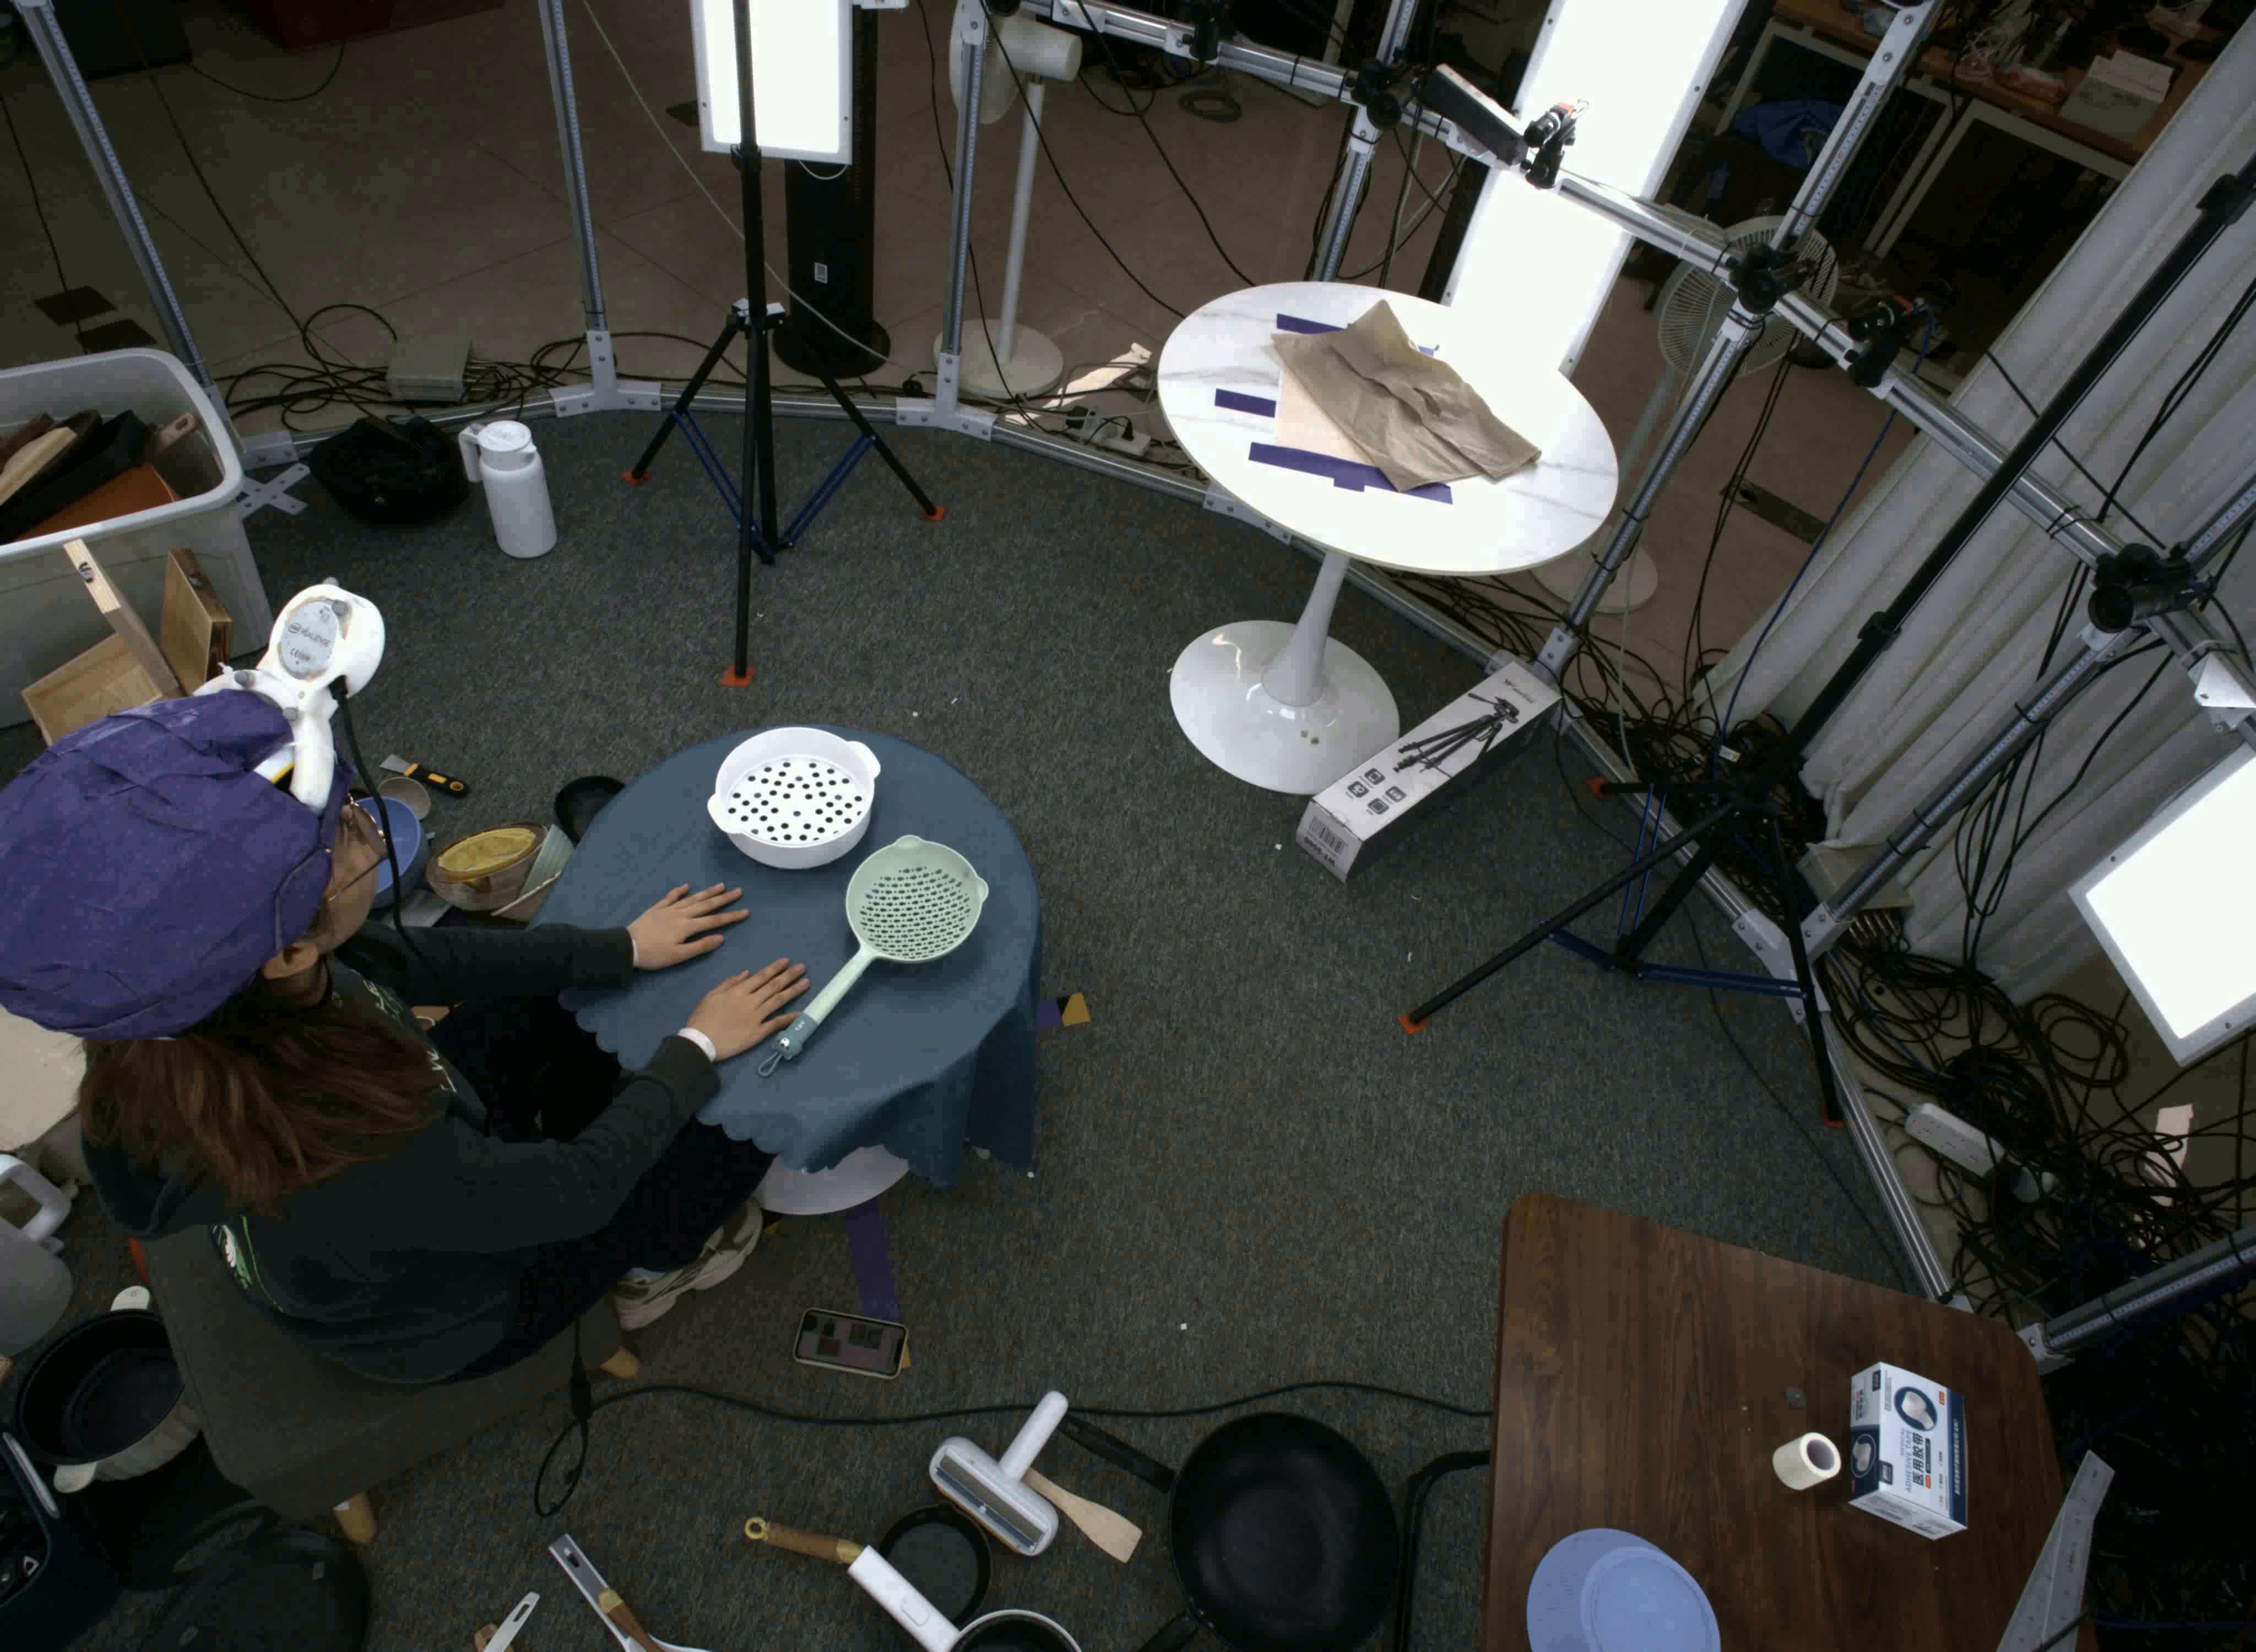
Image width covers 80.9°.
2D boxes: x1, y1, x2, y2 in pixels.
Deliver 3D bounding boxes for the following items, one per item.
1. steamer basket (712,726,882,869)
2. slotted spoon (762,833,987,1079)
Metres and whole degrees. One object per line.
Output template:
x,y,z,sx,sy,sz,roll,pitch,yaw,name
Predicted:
-0.434,-0.037,1.713,0.231,0.071,0.197,-27,63,-29,steamer basket
-0.323,0.161,1.595,0.166,0.077,0.358,33,53,12,slotted spoon
